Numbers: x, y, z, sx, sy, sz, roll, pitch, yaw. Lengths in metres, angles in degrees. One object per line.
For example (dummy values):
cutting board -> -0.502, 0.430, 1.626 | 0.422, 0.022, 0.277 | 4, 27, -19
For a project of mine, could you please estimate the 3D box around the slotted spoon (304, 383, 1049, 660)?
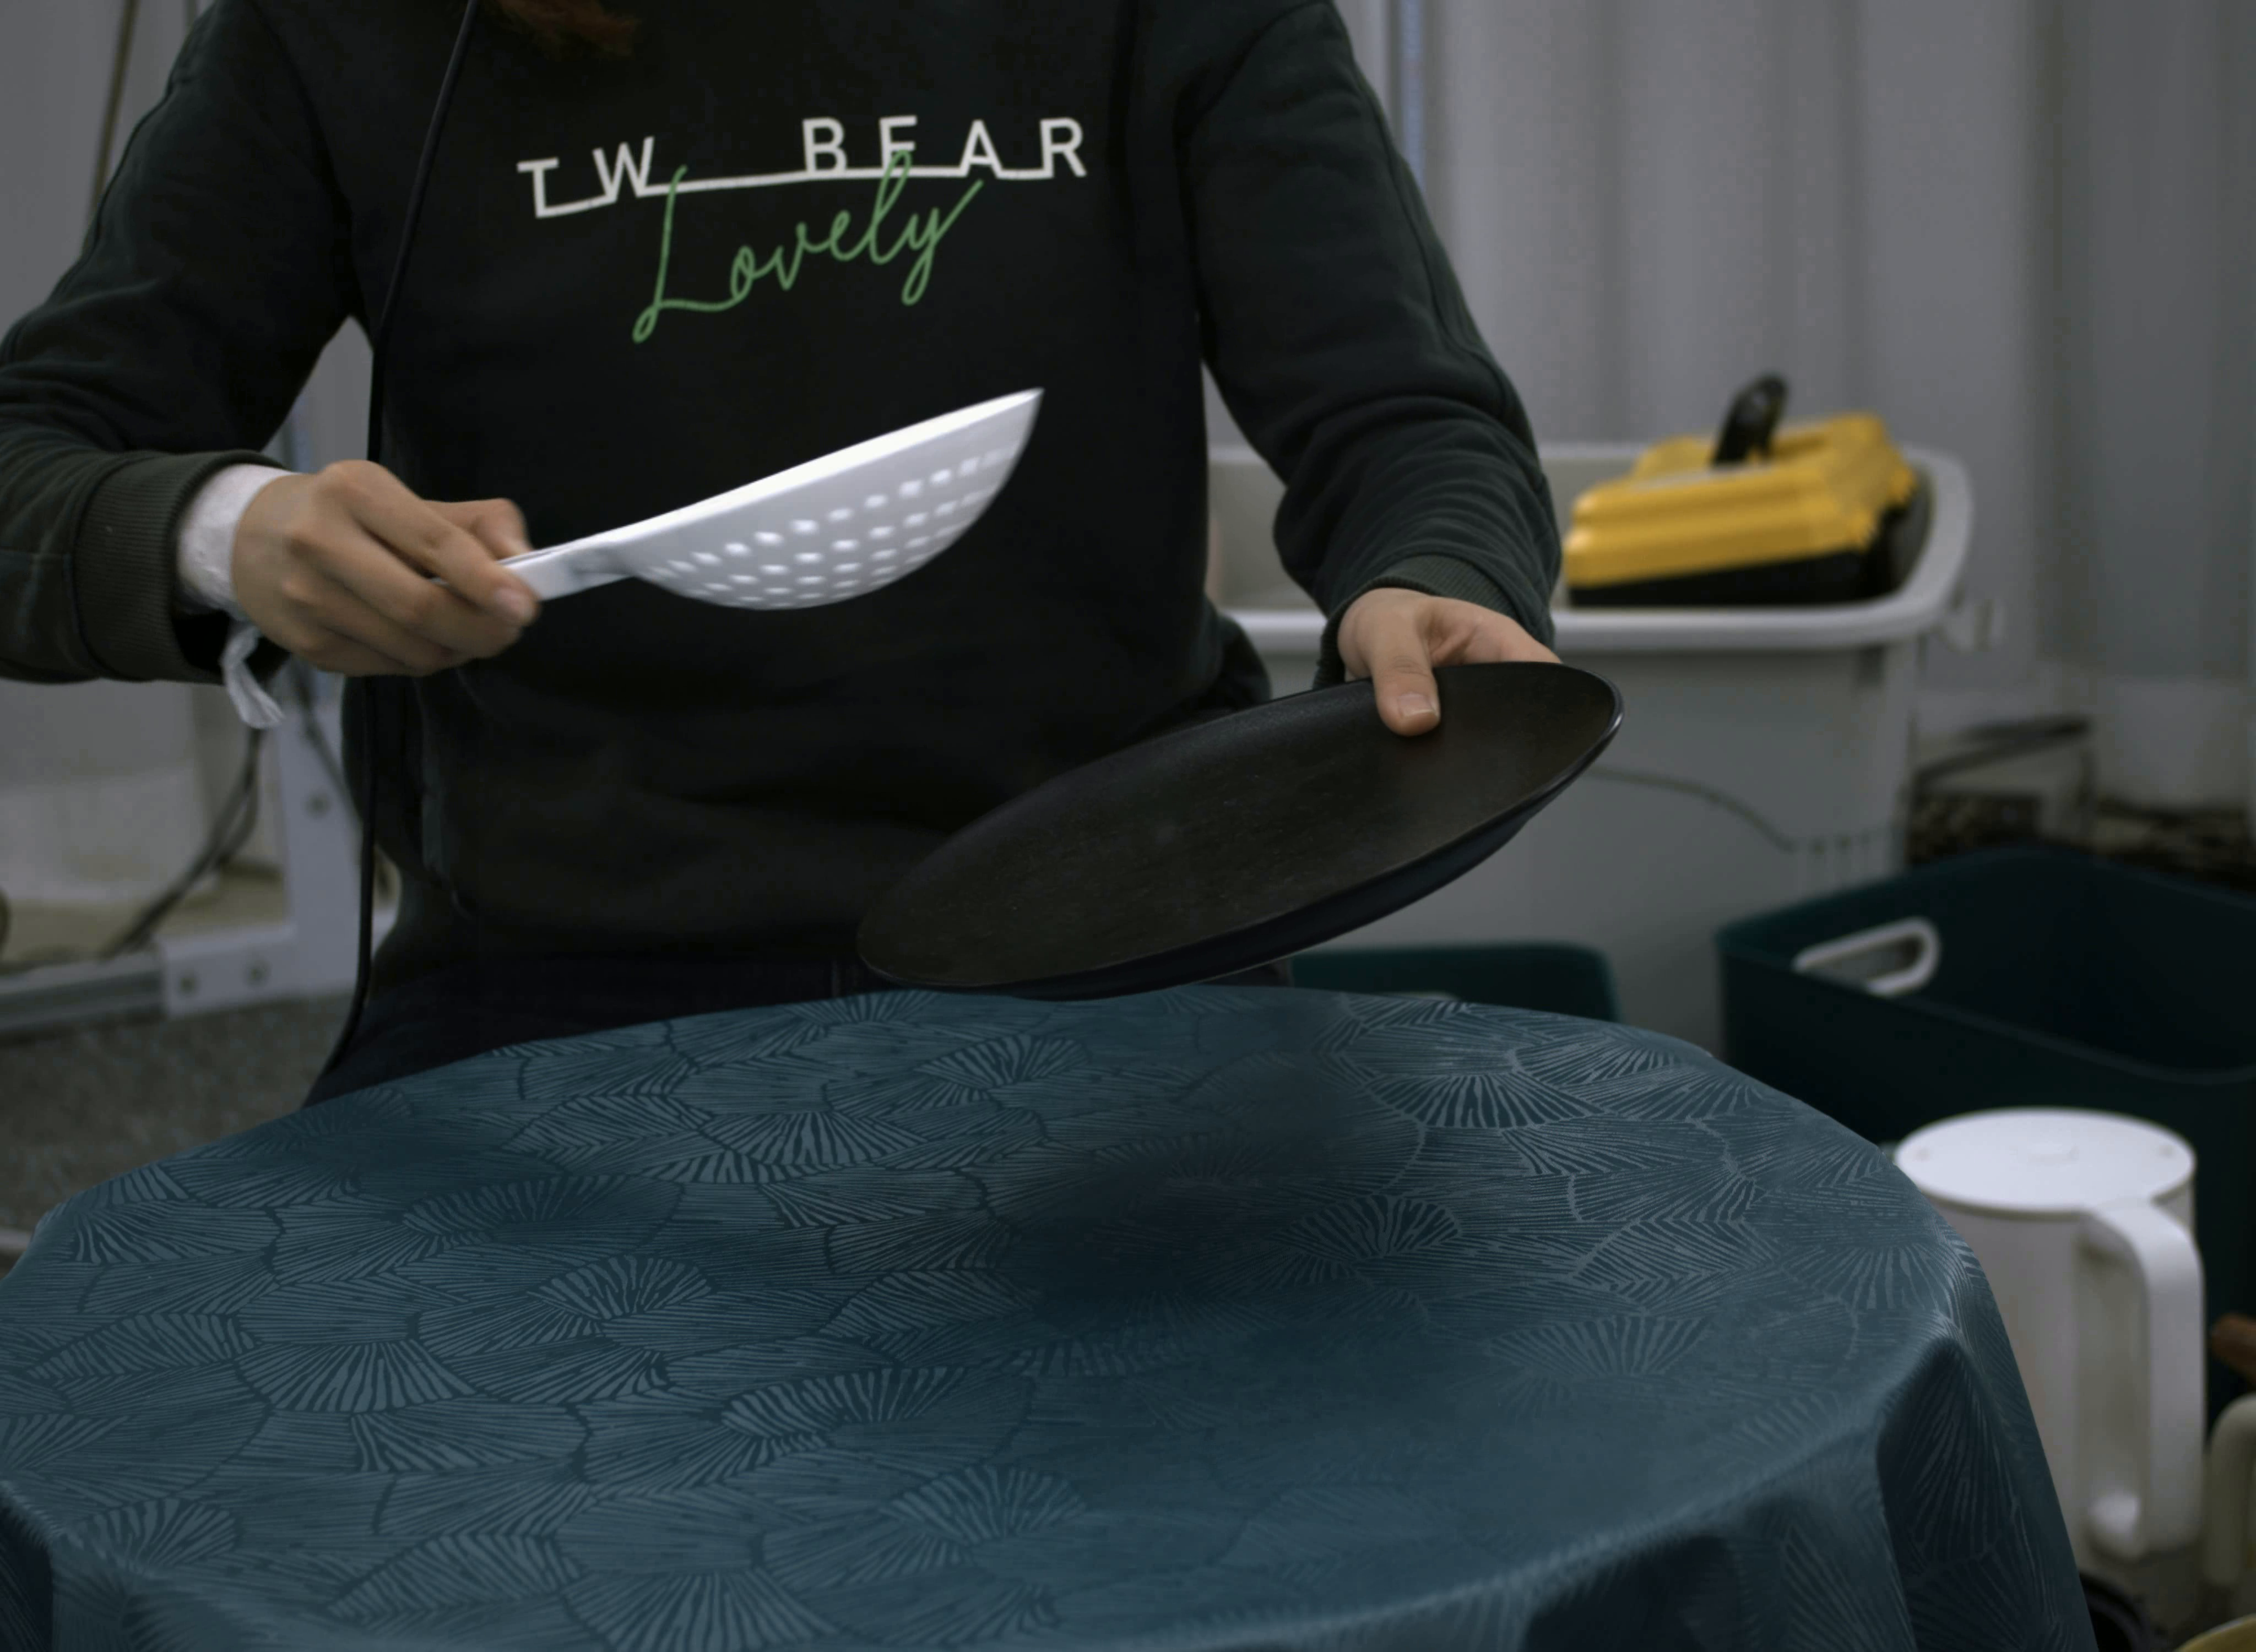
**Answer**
slotted spoon -> -0.154, -0.087, 1.697 | 0.136, 0.045, 0.350 | -25, 13, -40

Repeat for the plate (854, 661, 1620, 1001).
plate -> 0.035, 0.006, 1.656 | 0.244, 0.023, 0.246 | -18, 15, 4
